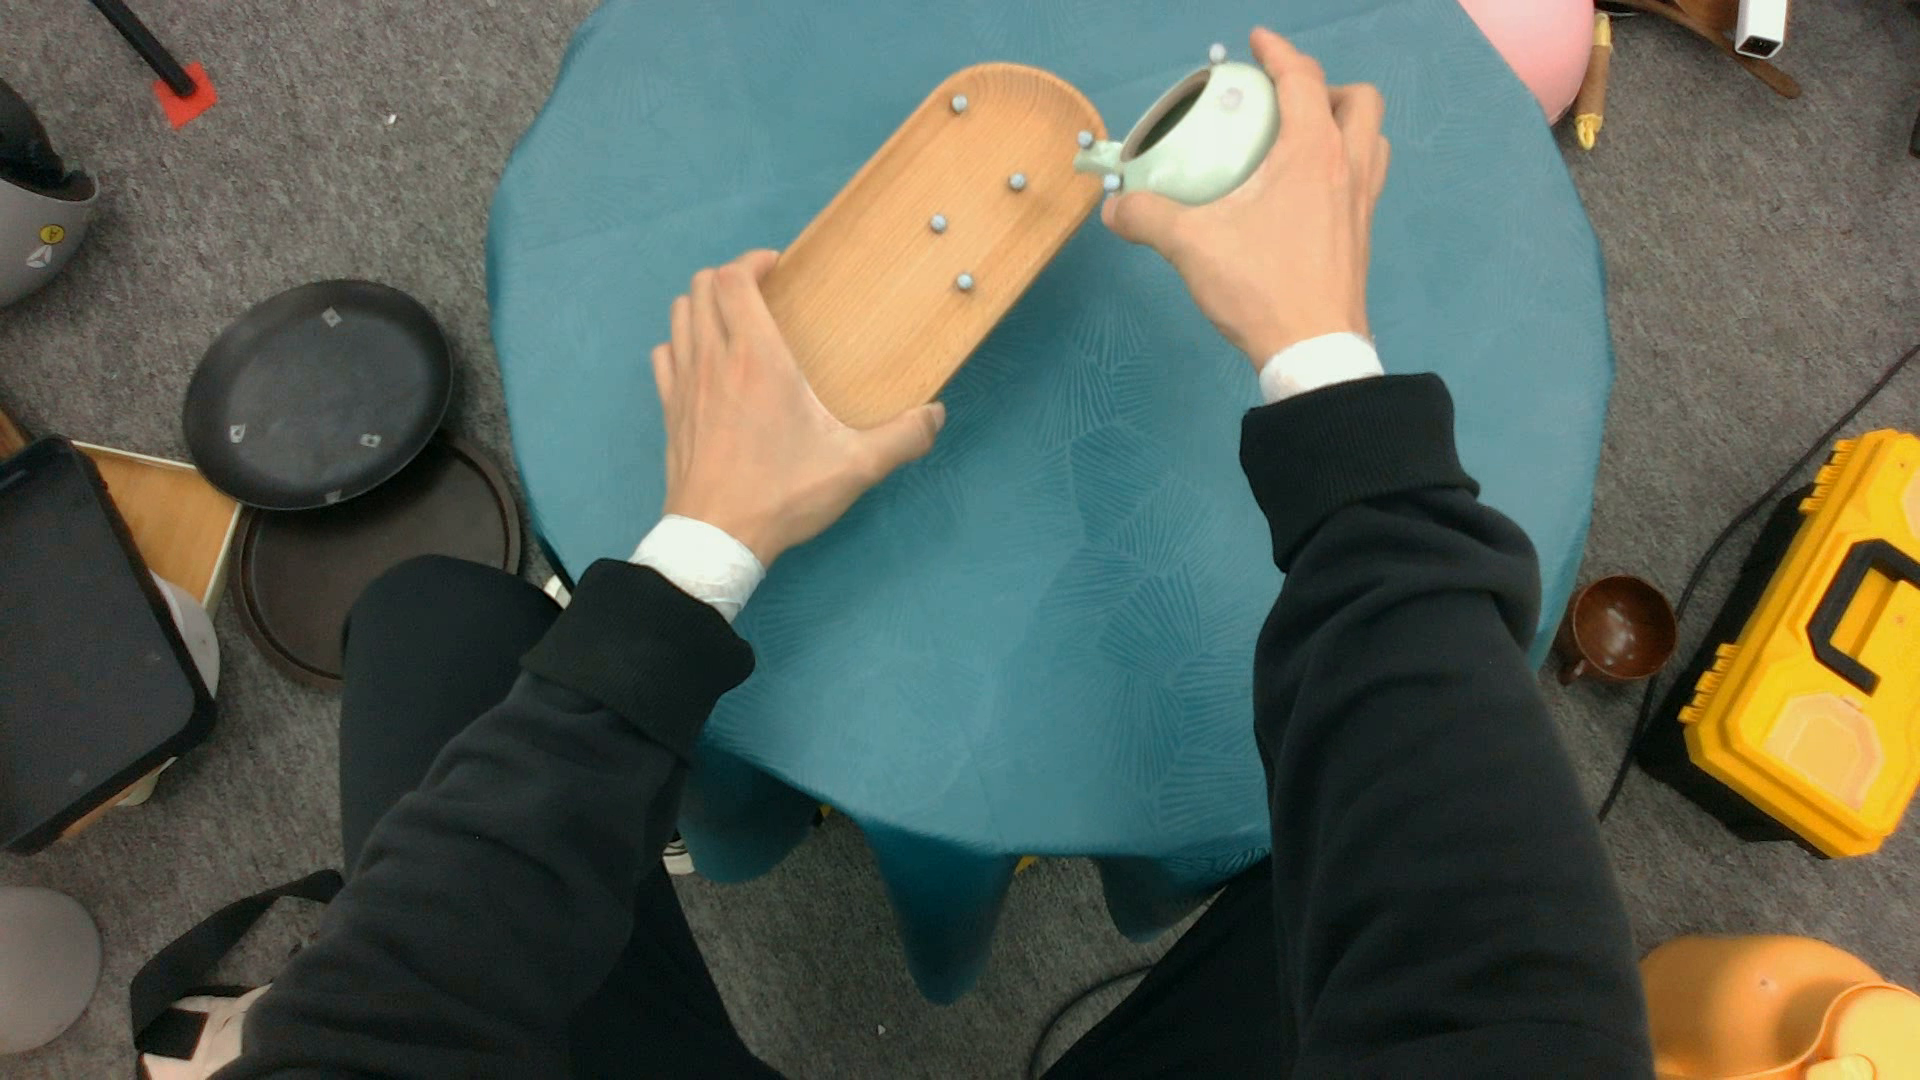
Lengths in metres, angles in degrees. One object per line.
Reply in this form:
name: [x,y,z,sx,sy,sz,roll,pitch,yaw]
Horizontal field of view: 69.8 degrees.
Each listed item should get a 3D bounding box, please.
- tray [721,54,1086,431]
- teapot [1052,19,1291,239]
tray: [-0.024,-0.148,0.674,0.101,0.020,0.232,35,73,6]
teapot: [0.101,-0.179,0.615,0.074,0.143,0.088,37,73,-19]
